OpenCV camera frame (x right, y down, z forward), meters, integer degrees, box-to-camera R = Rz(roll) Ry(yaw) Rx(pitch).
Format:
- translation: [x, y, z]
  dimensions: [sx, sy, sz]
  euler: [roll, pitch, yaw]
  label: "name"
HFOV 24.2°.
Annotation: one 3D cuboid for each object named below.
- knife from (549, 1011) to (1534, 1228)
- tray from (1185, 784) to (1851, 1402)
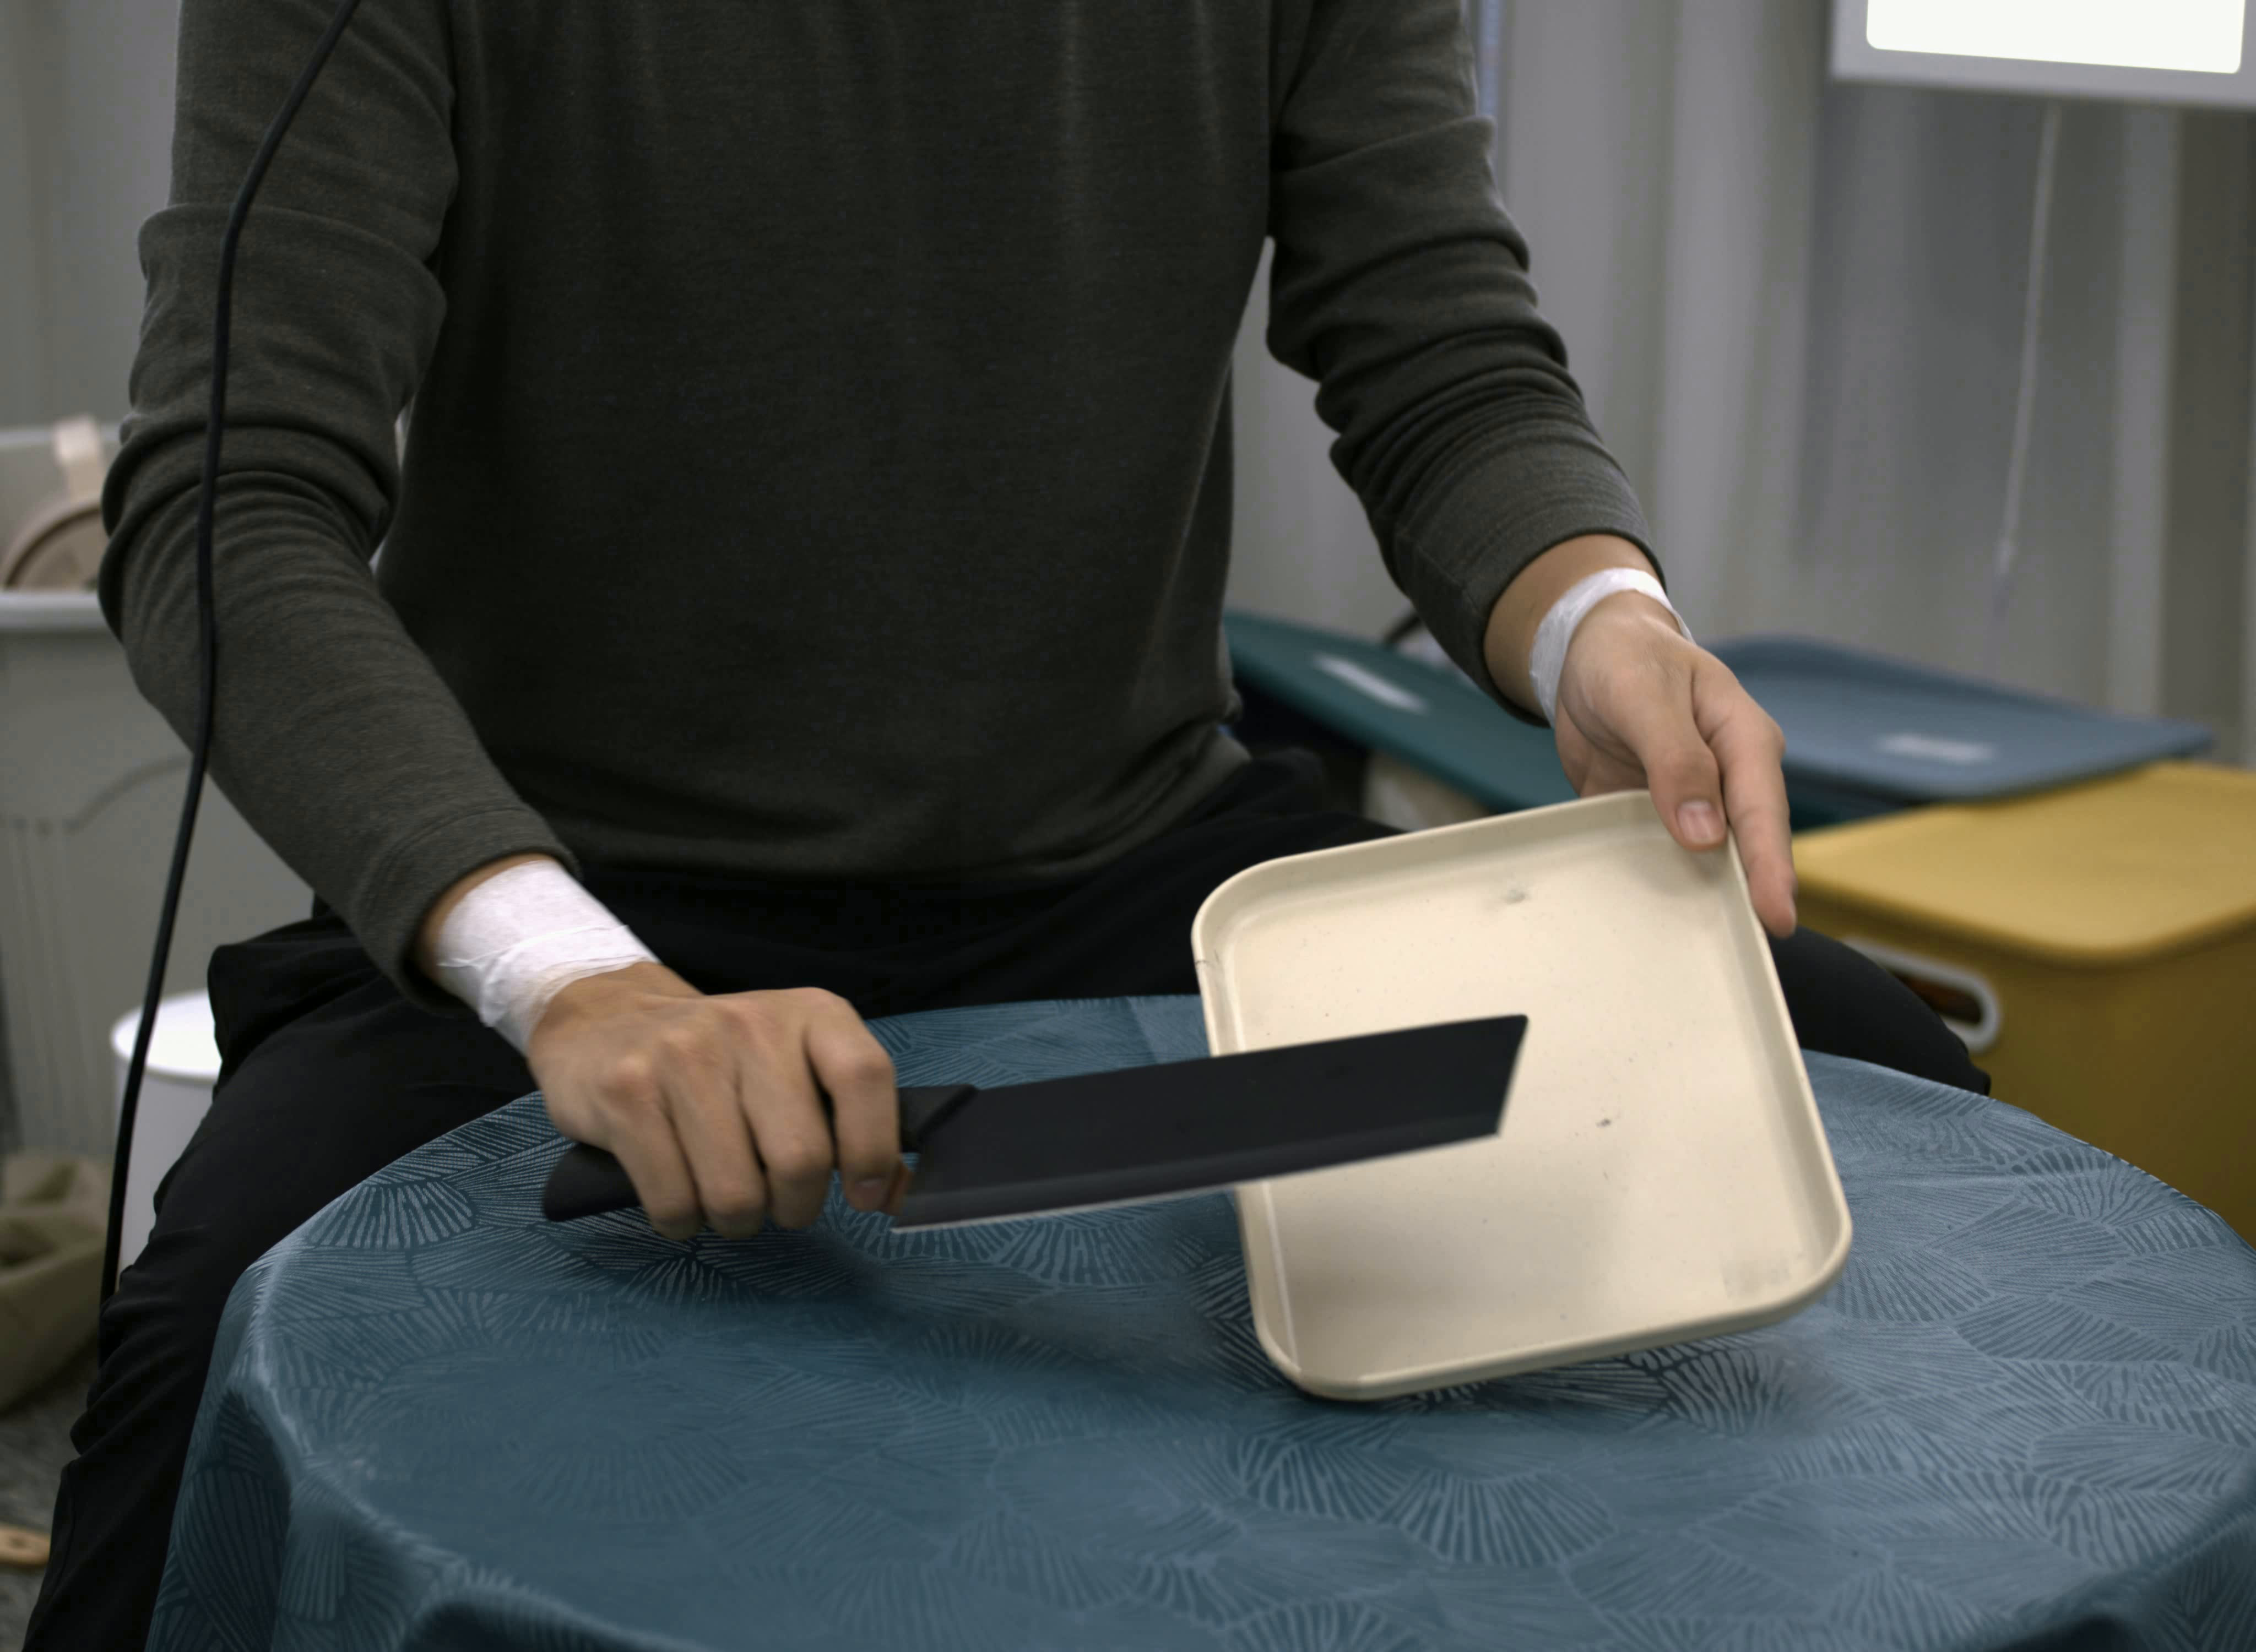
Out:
- translation: [-0.029, 0.090, 1.503]
  dimensions: [0.300, 0.021, 0.080]
  euler: [-7, 32, 22]
  label: "knife"
- translation: [0.110, 0.076, 1.539]
  dimensions: [0.171, 0.018, 0.237]
  euler: [-11, 38, 1]
  label: "tray"
